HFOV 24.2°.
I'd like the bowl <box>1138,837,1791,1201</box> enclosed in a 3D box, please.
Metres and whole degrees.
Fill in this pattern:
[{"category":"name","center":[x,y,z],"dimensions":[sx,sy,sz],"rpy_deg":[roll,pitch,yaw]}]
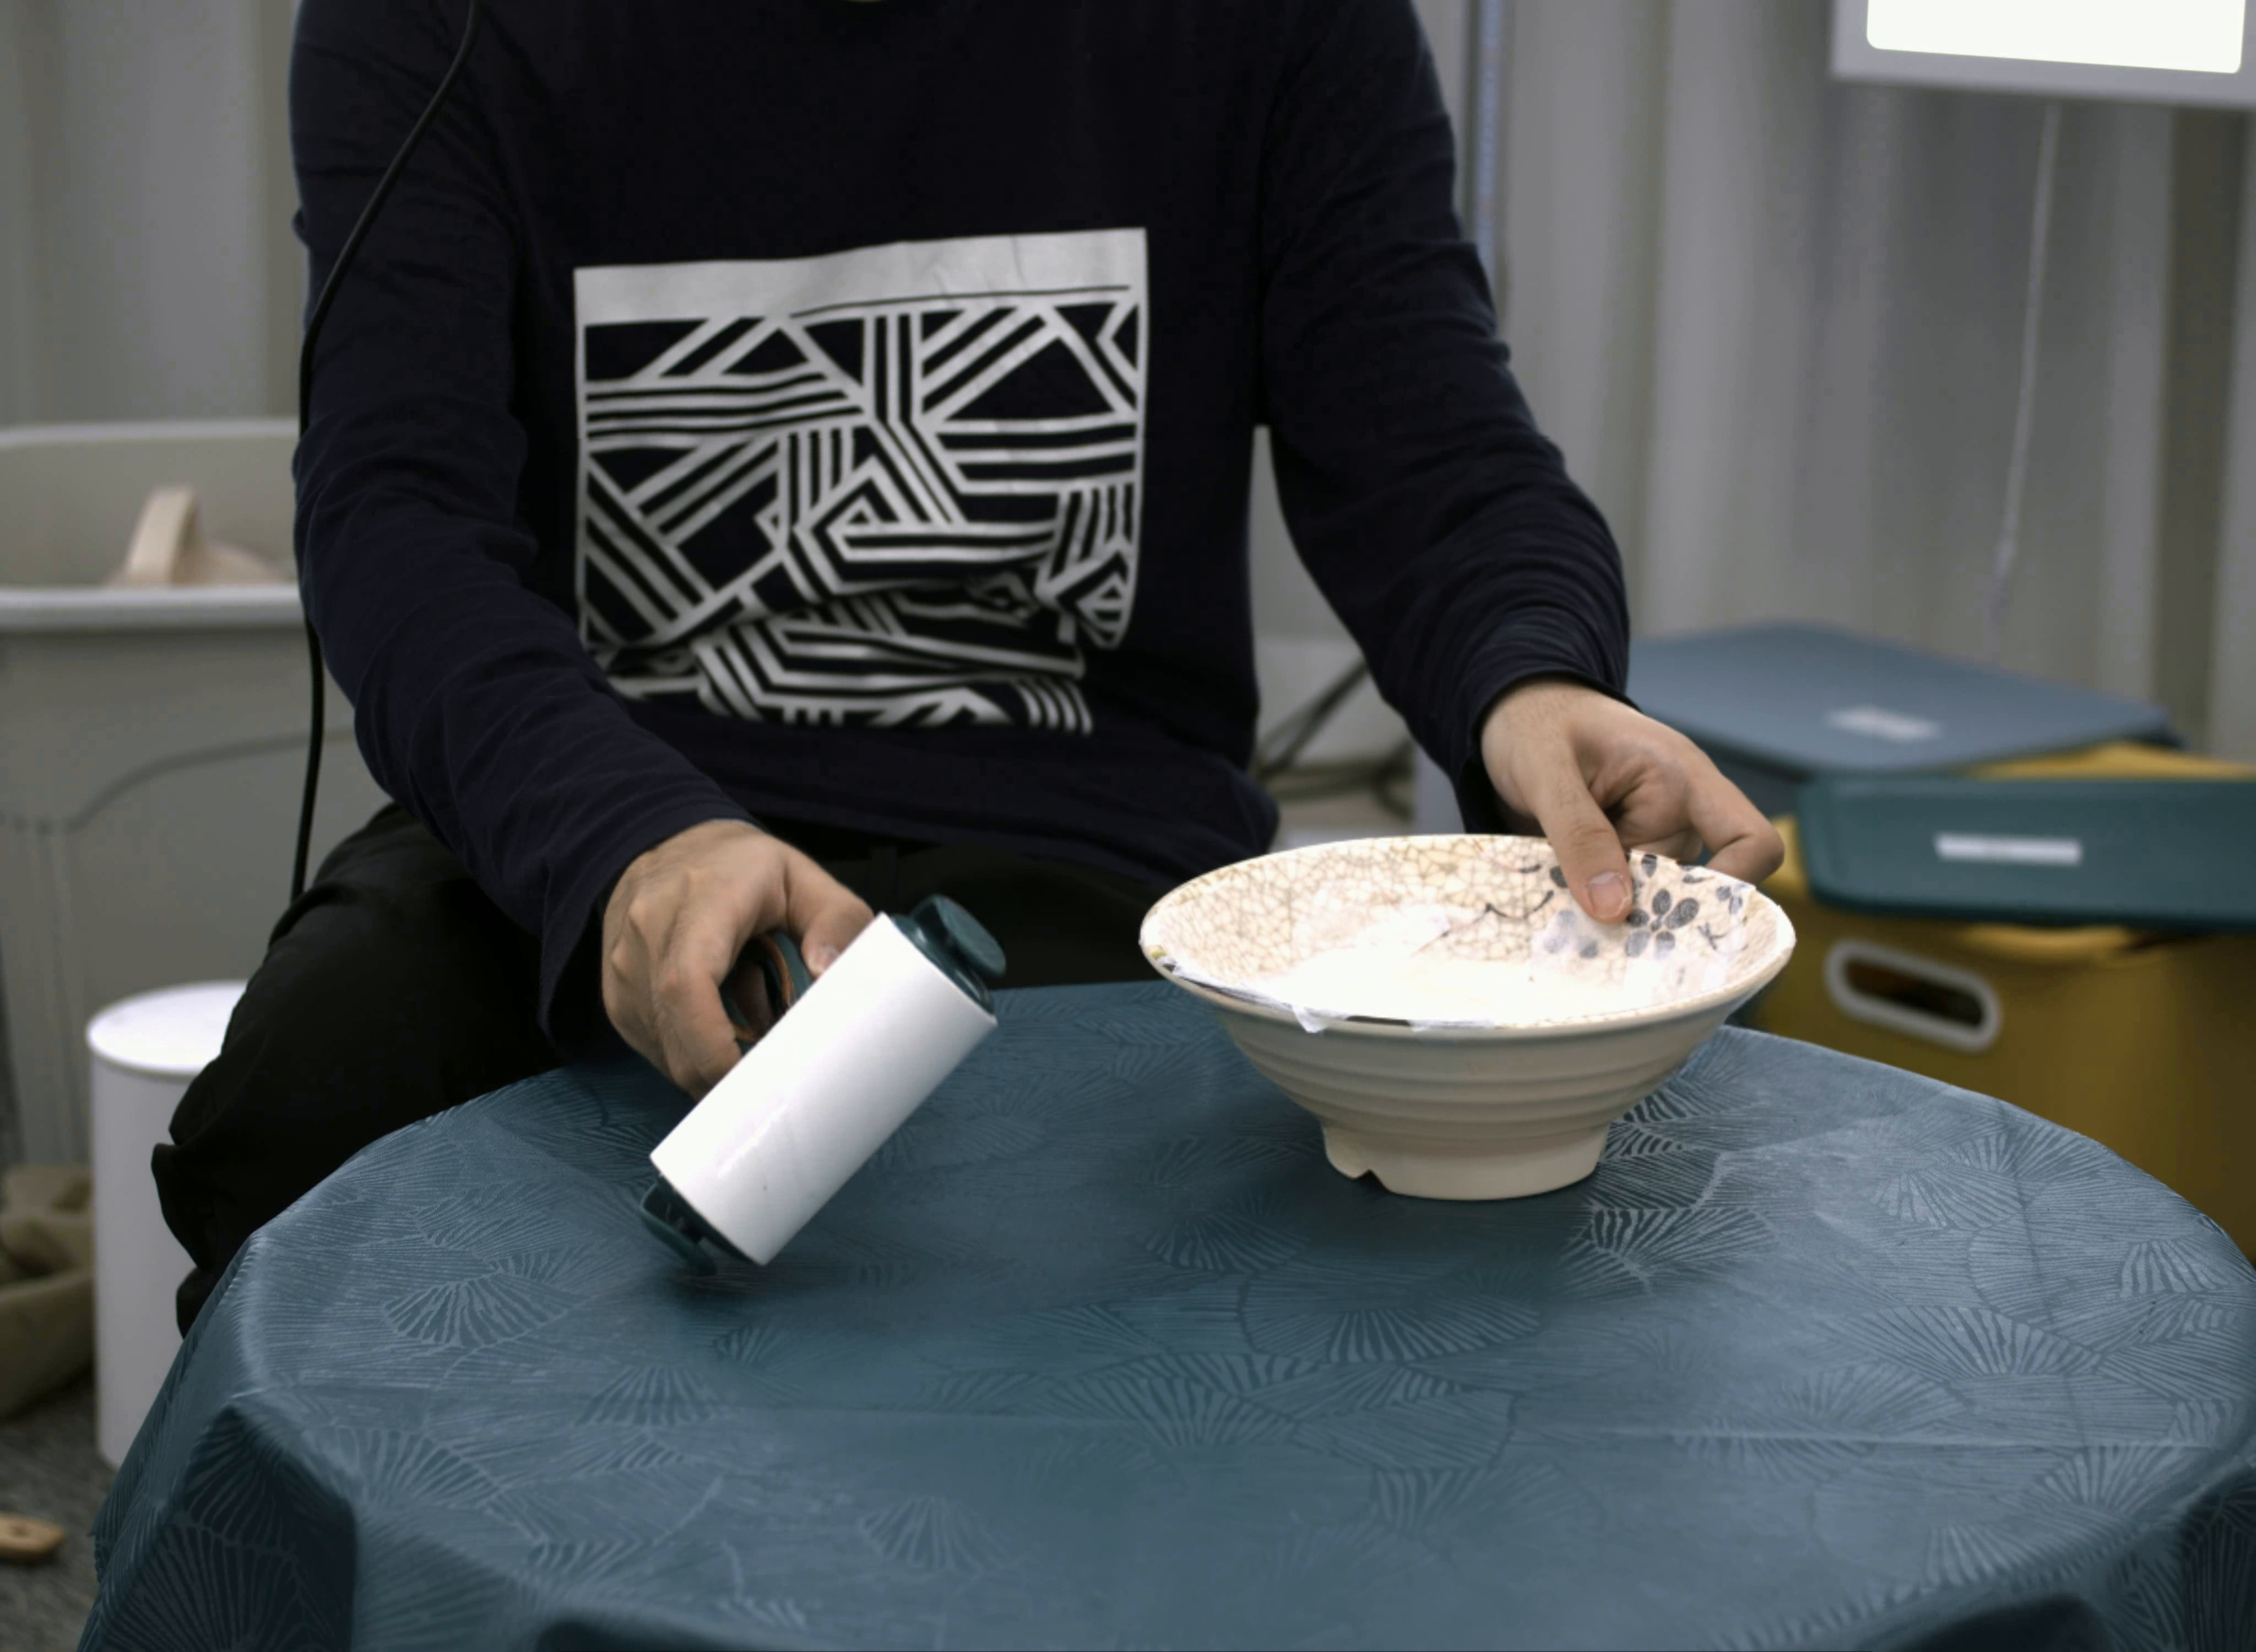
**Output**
[{"category":"bowl","center":[0.104,0.067,1.645],"dimensions":[0.203,0.078,0.203],"rpy_deg":[1,15,0]}]

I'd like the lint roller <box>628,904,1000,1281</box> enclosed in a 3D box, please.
[{"category":"lint roller","center":[-0.109,0.061,1.594],"dimensions":[0.134,0.049,0.178],"rpy_deg":[-45,23,-1]}]
